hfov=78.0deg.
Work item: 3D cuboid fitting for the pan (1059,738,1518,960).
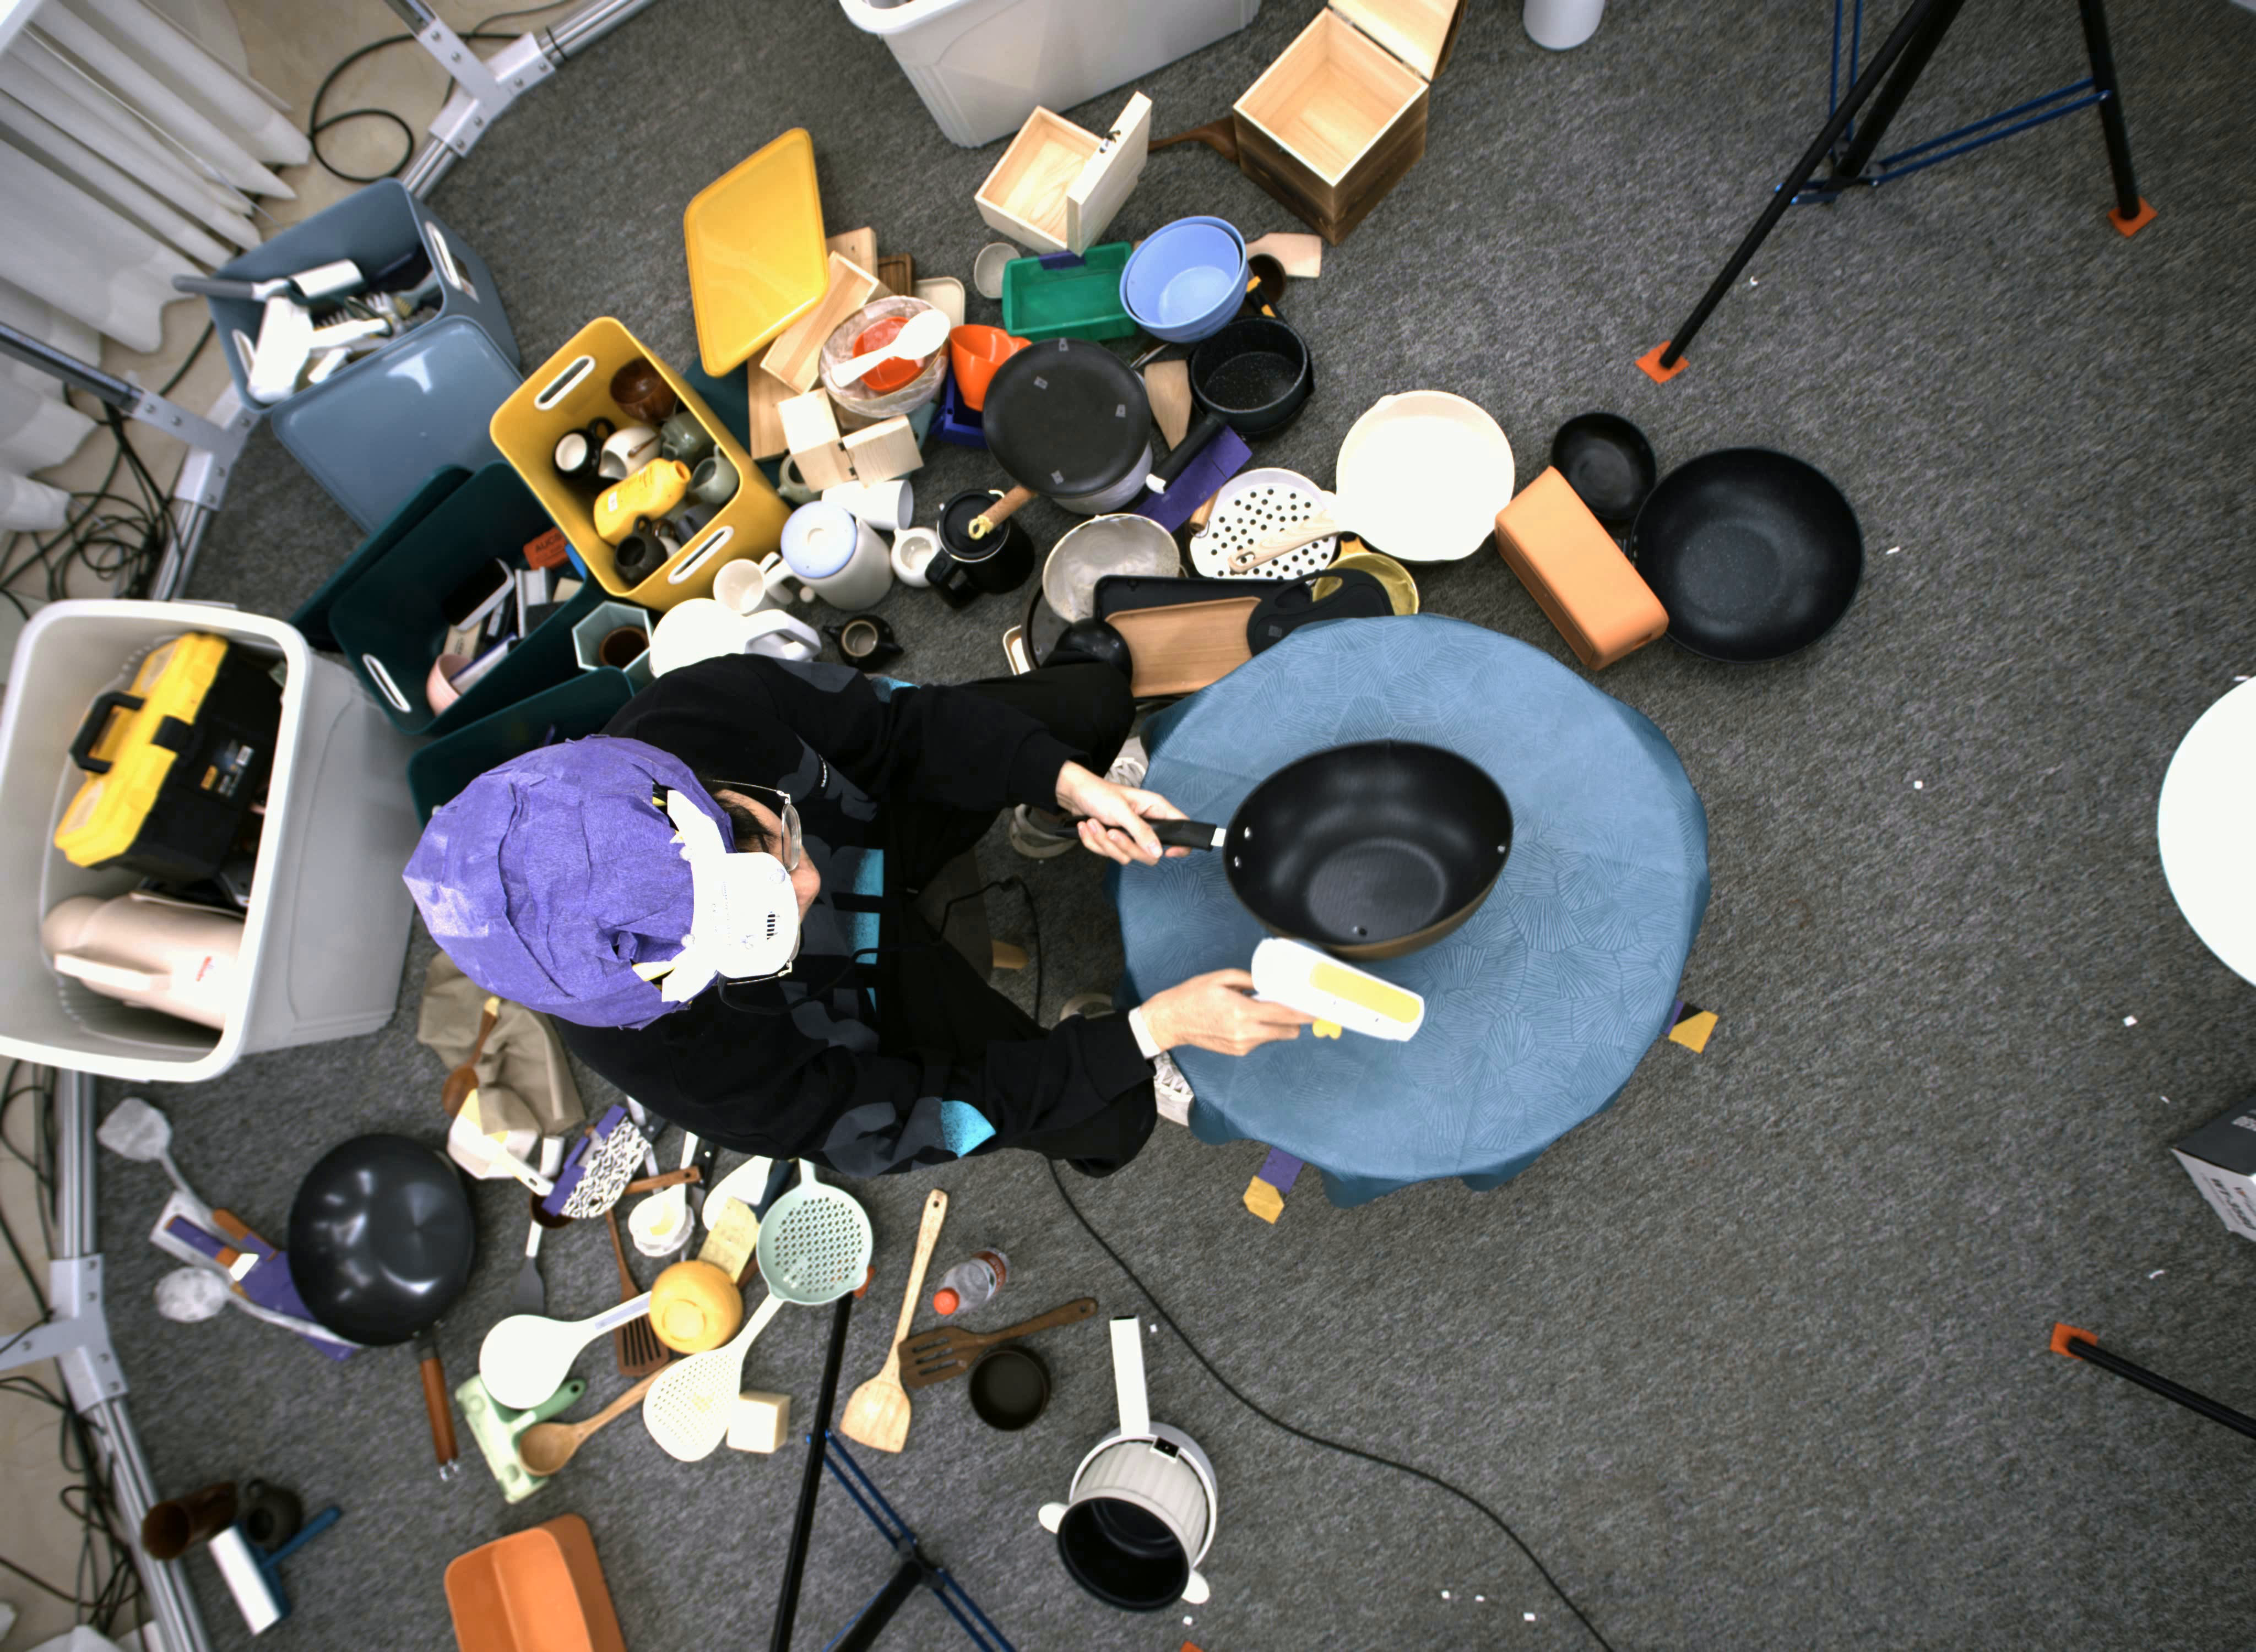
[{"bbox_3d":[0.152,0.030,1.372,0.466,0.089,0.280,2,45,22],"label":"pan"}]

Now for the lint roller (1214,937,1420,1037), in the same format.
[{"bbox_3d":[0.152,0.161,1.312,0.193,0.195,0.073,17,73,-31],"label":"lint roller"}]
